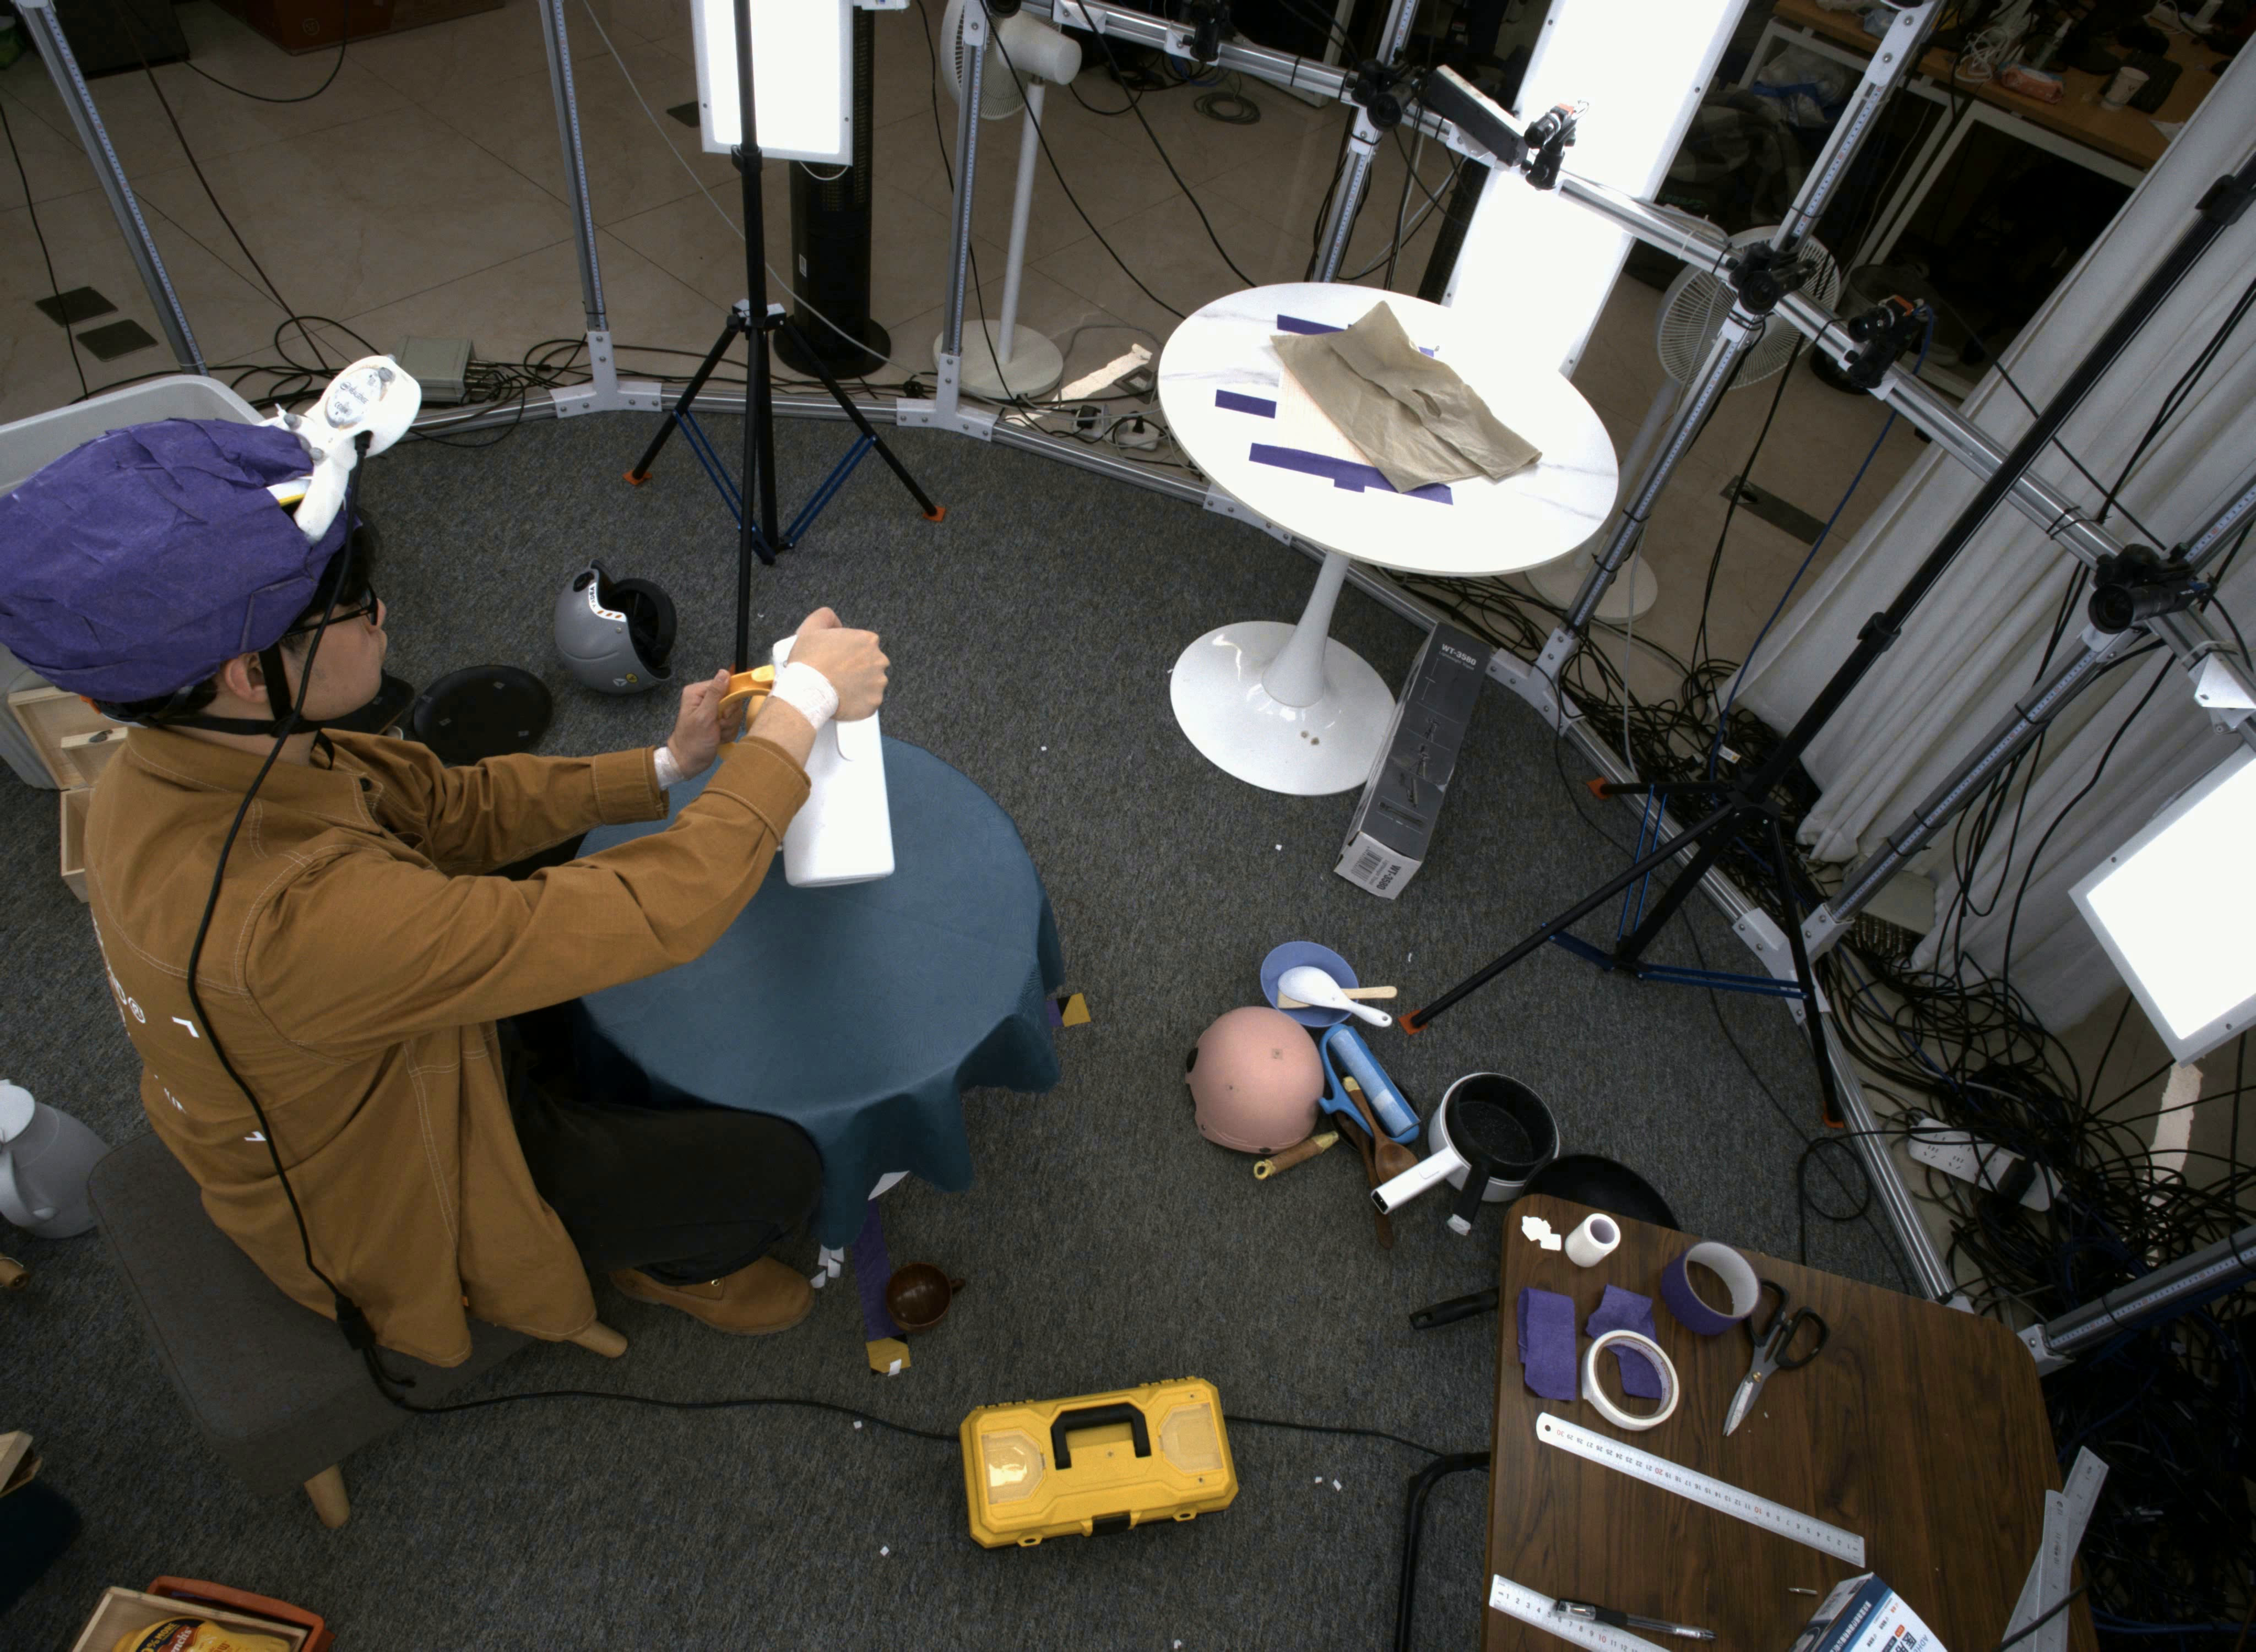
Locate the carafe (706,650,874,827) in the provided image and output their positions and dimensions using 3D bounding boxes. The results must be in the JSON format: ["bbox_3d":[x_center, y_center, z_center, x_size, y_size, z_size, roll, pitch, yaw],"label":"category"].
[{"bbox_3d":[-0.416,-0.121,1.604,0.203,0.265,0.160,-6,56,-18],"label":"carafe"}]

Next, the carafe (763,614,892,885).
[{"bbox_3d":[-0.320,-0.081,1.389,0.125,0.169,0.271,-4,85,-27],"label":"carafe"}]
